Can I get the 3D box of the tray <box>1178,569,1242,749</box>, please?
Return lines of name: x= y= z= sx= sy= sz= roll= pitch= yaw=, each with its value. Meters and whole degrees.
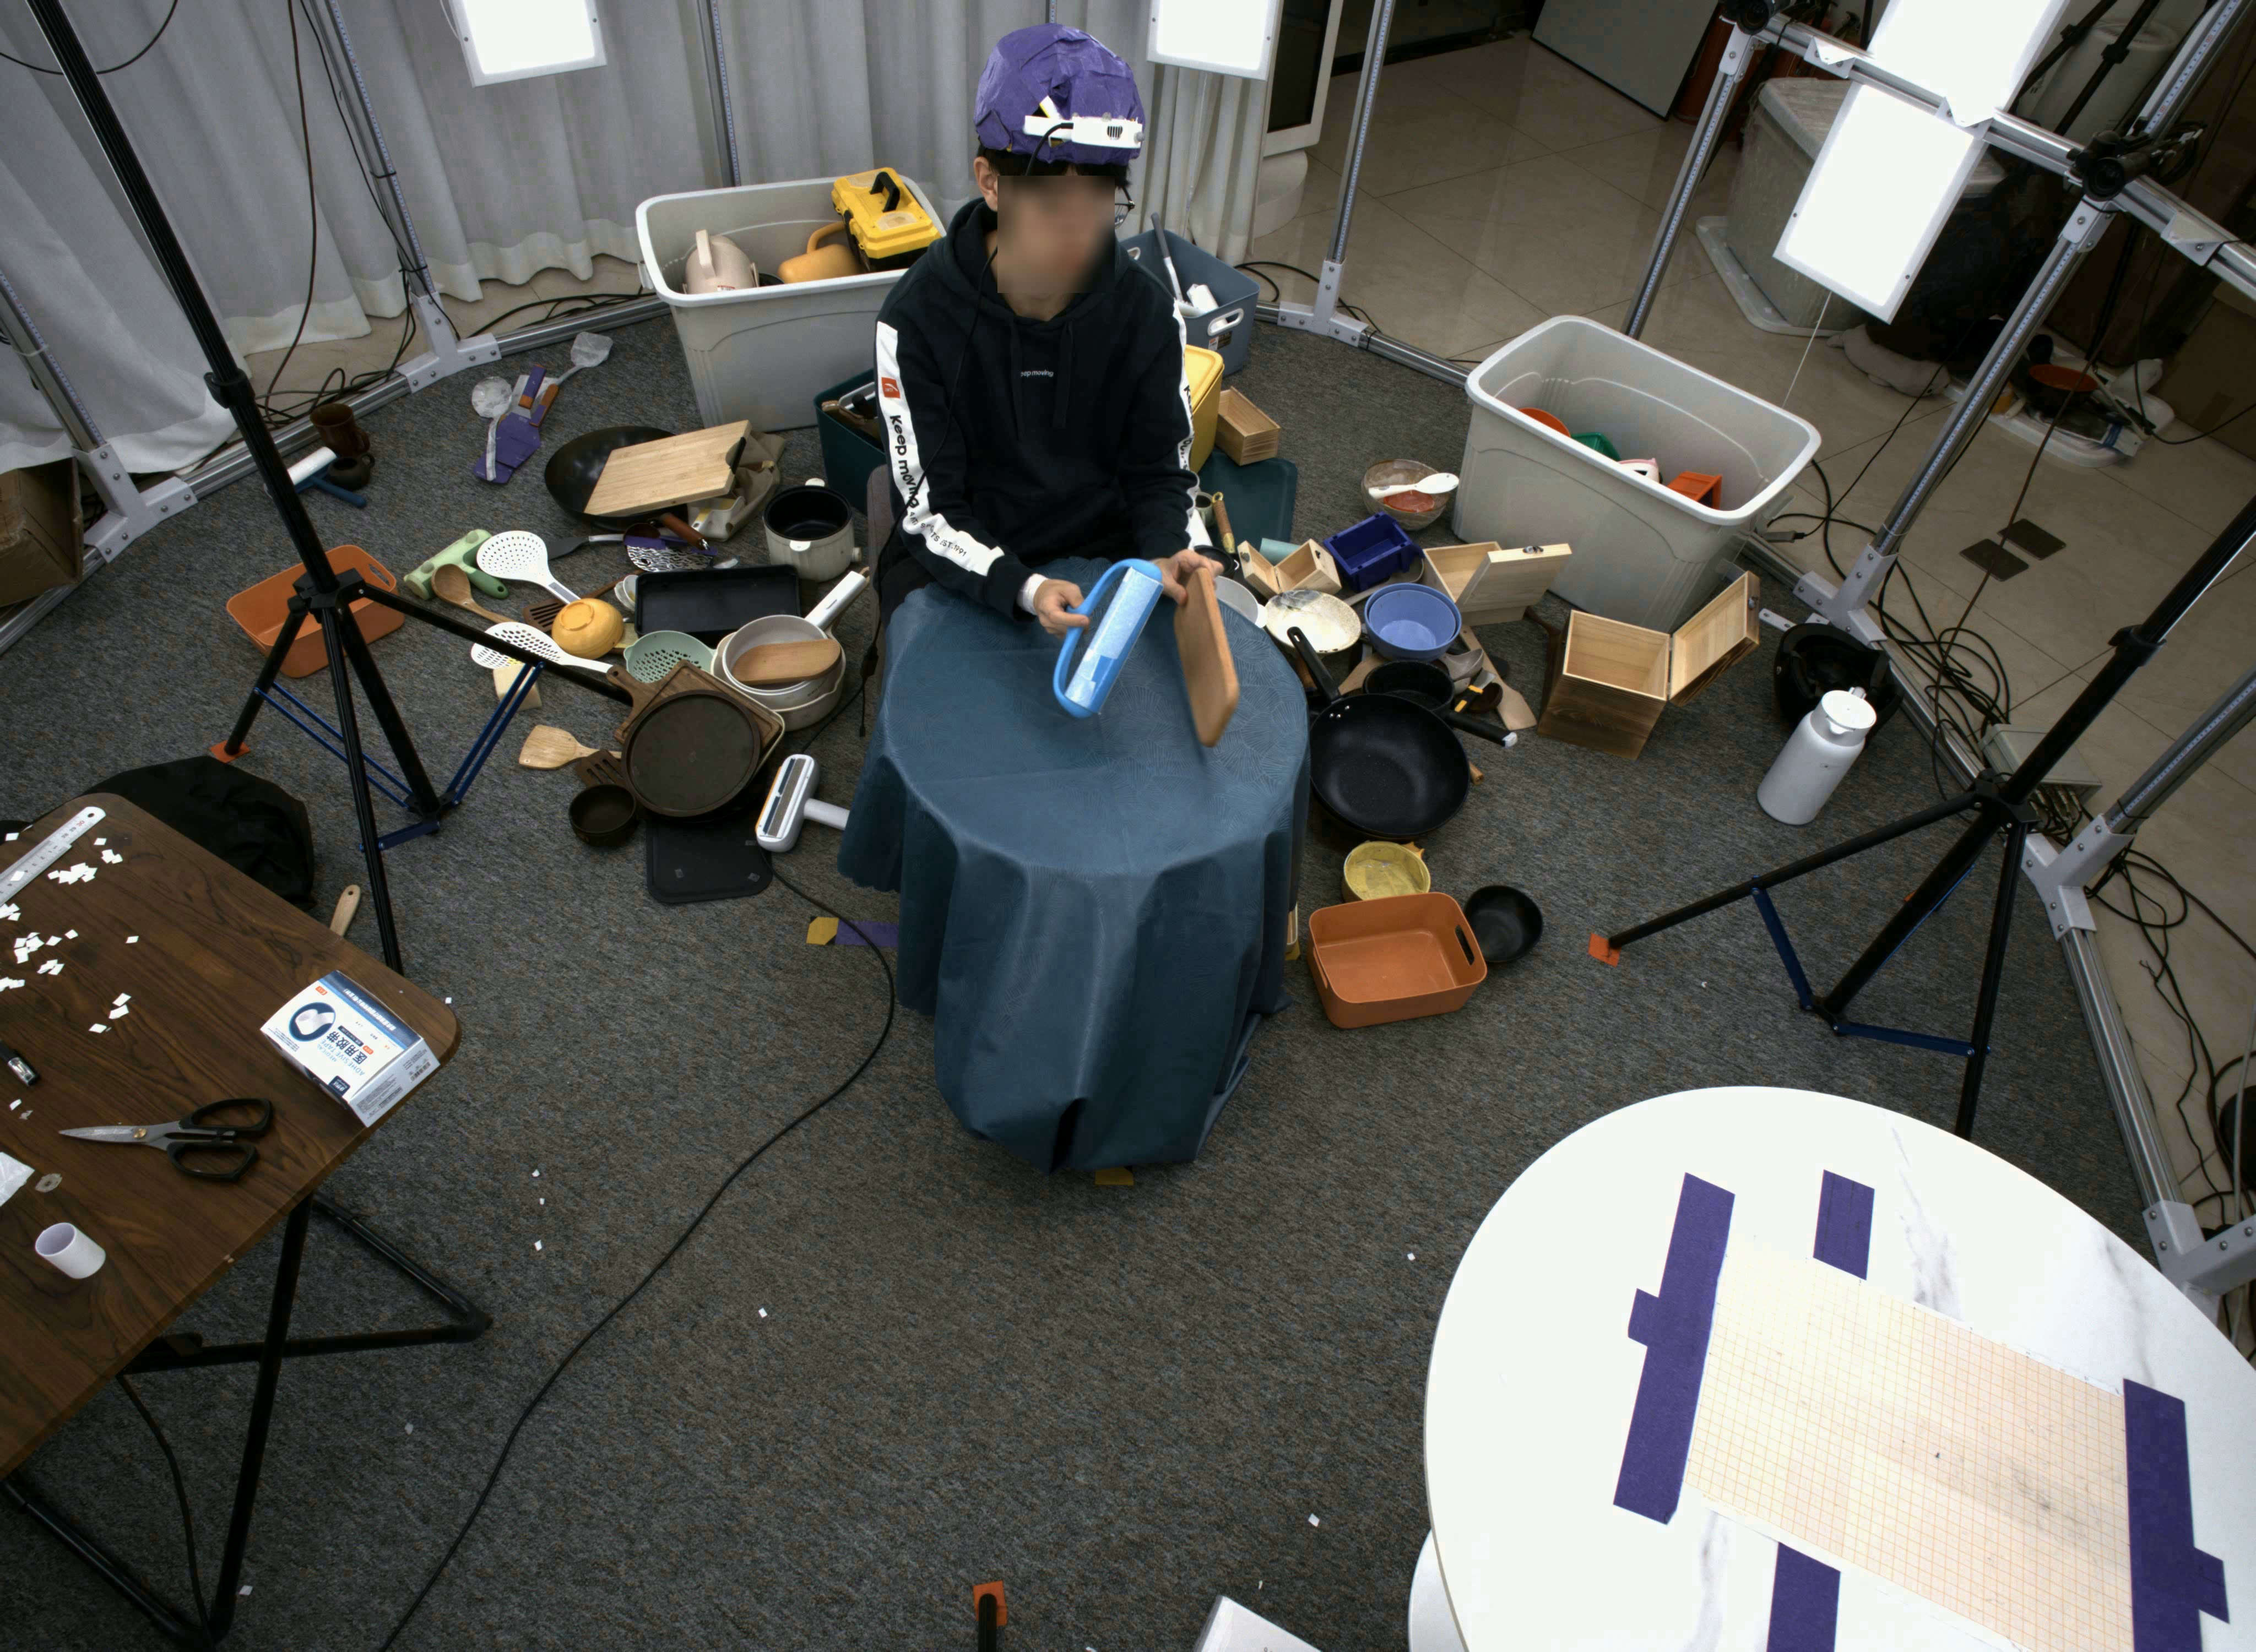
tray: x=0.110 y=-0.232 z=1.768 sx=0.023 sy=0.128 sz=0.257 roll=1 pitch=52 yaw=-18

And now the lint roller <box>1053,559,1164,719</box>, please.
lint roller: x=-0.053 y=-0.271 z=1.761 sx=0.067 sy=0.228 sz=0.183 roll=20 pitch=9 yaw=-41
